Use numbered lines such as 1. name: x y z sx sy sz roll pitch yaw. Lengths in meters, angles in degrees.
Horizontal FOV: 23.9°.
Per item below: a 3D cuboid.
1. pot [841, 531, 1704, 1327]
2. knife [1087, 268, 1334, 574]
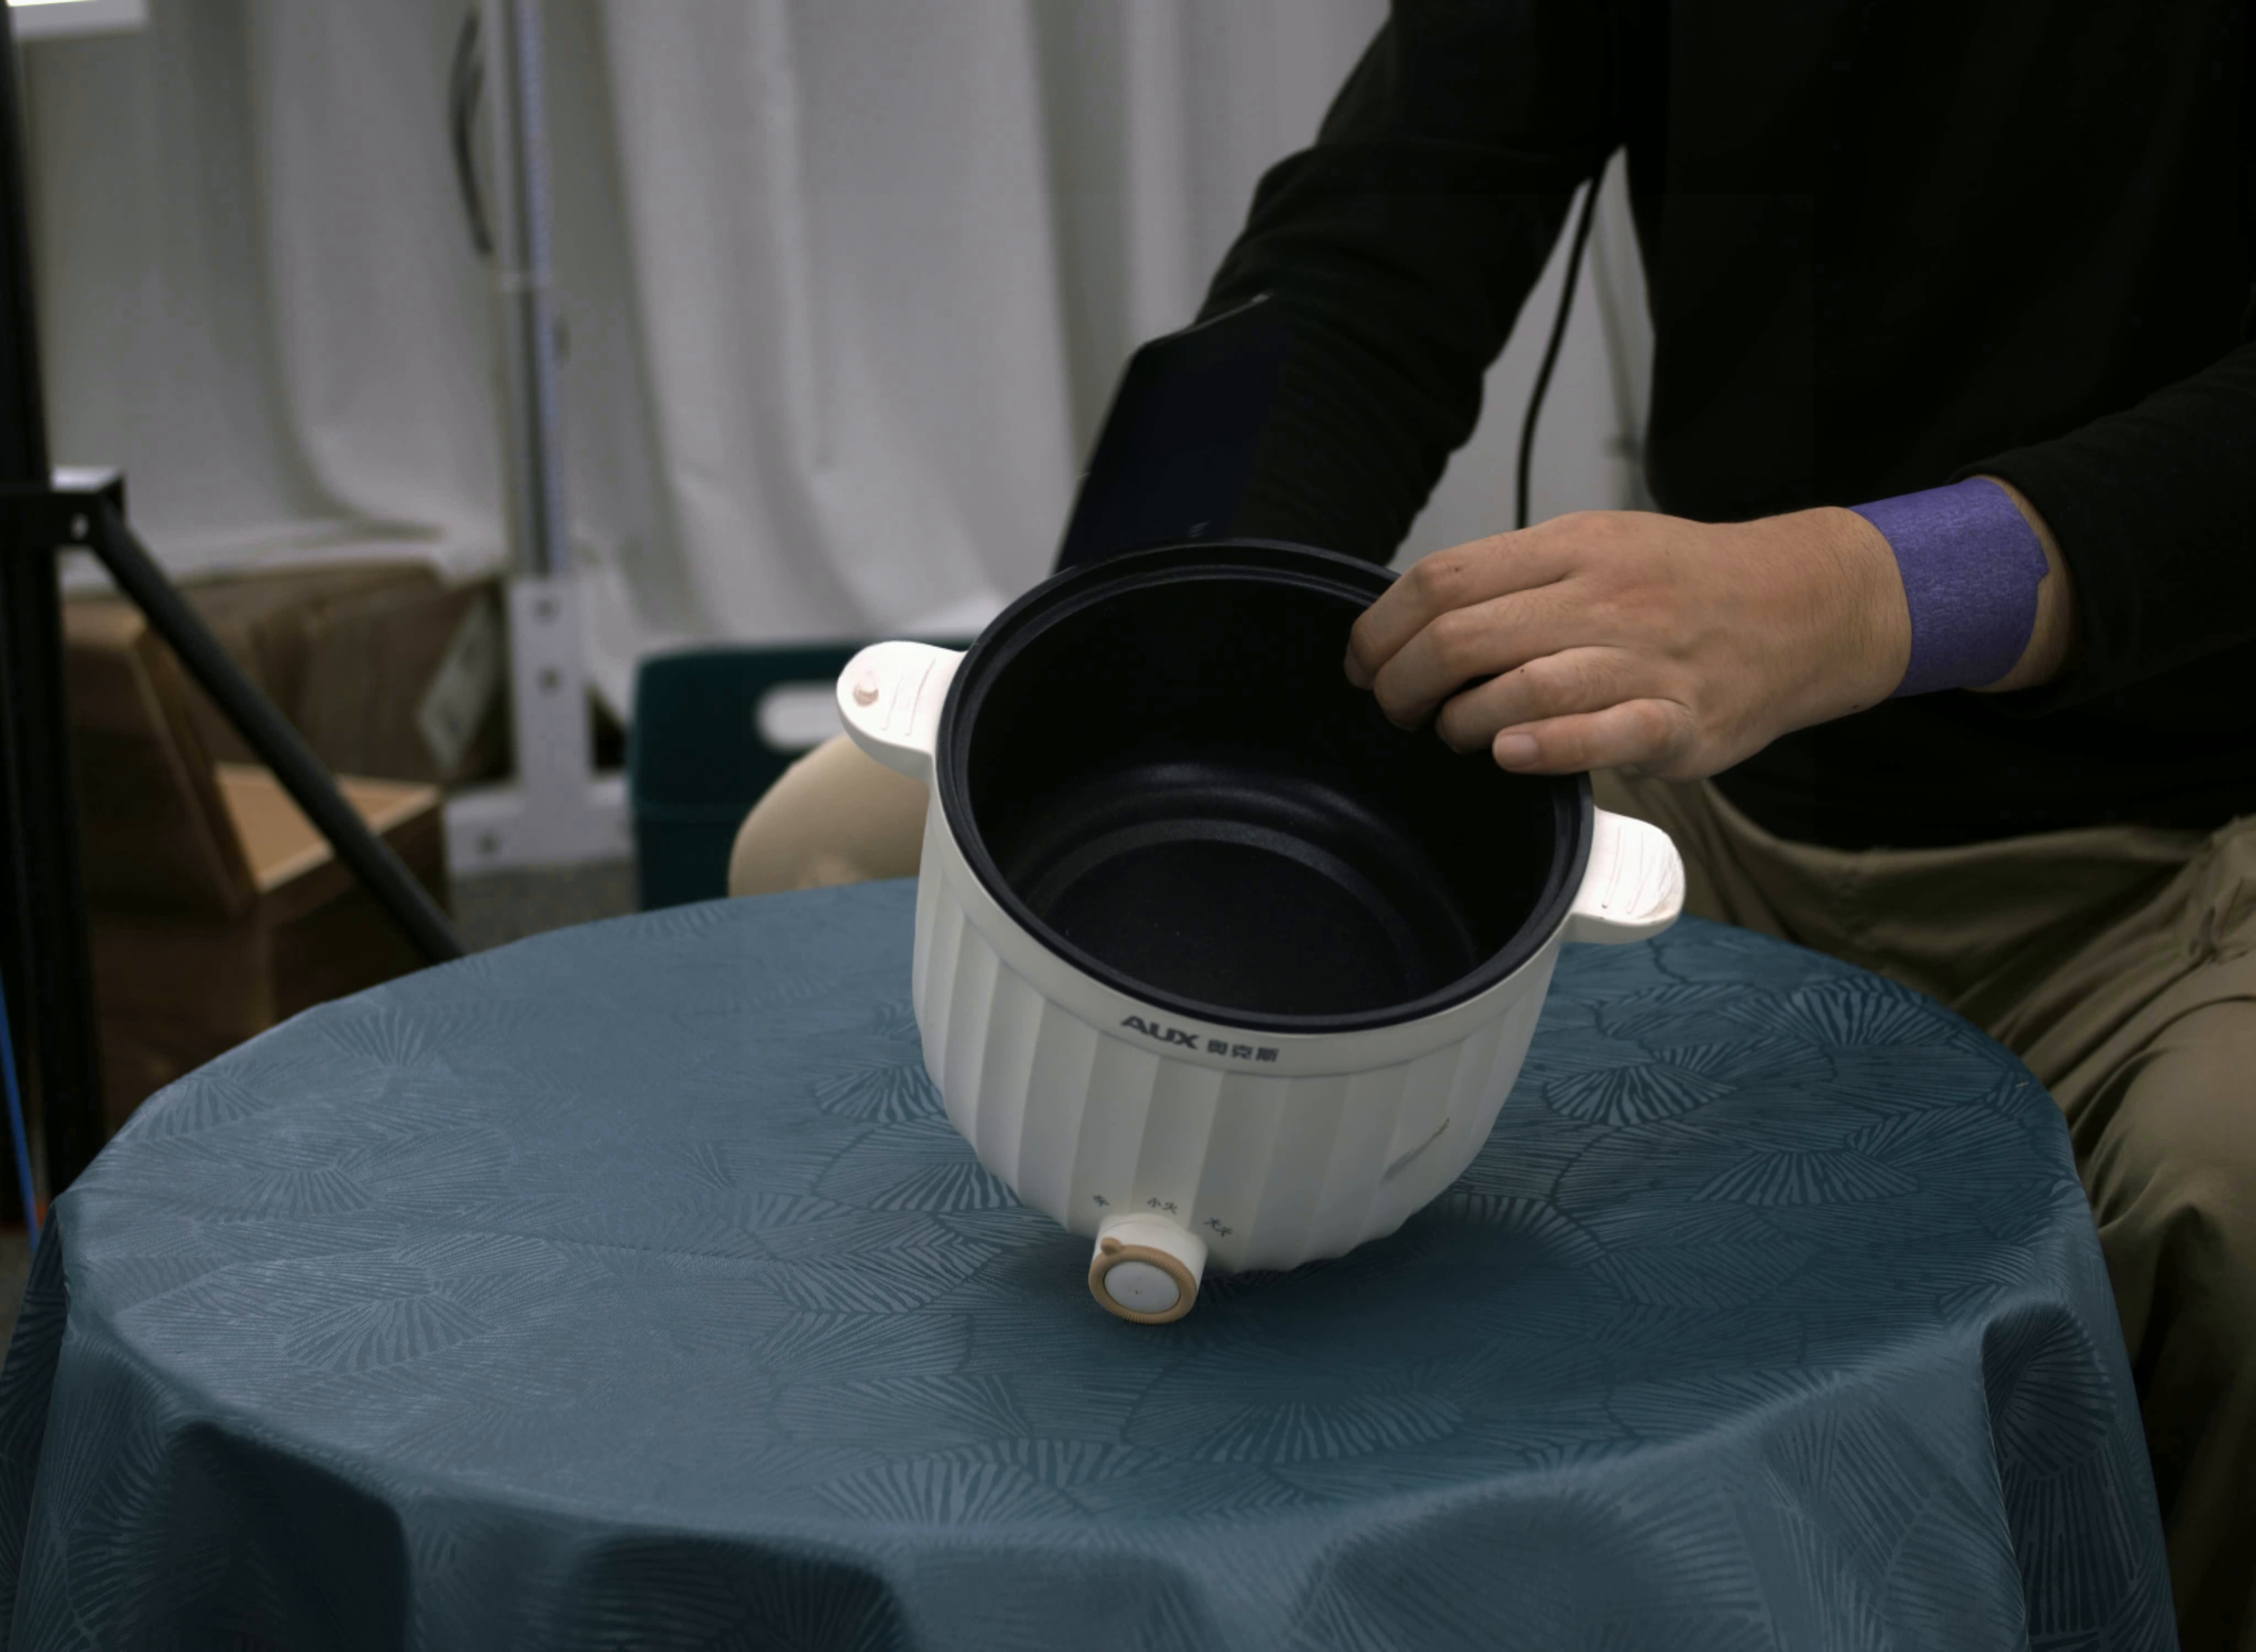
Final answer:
1. pot: 0.030 0.033 1.478 0.240 0.142 0.191 13 44 4
2. knife: 0.006 -0.062 1.565 0.080 0.302 0.021 -25 66 -21
